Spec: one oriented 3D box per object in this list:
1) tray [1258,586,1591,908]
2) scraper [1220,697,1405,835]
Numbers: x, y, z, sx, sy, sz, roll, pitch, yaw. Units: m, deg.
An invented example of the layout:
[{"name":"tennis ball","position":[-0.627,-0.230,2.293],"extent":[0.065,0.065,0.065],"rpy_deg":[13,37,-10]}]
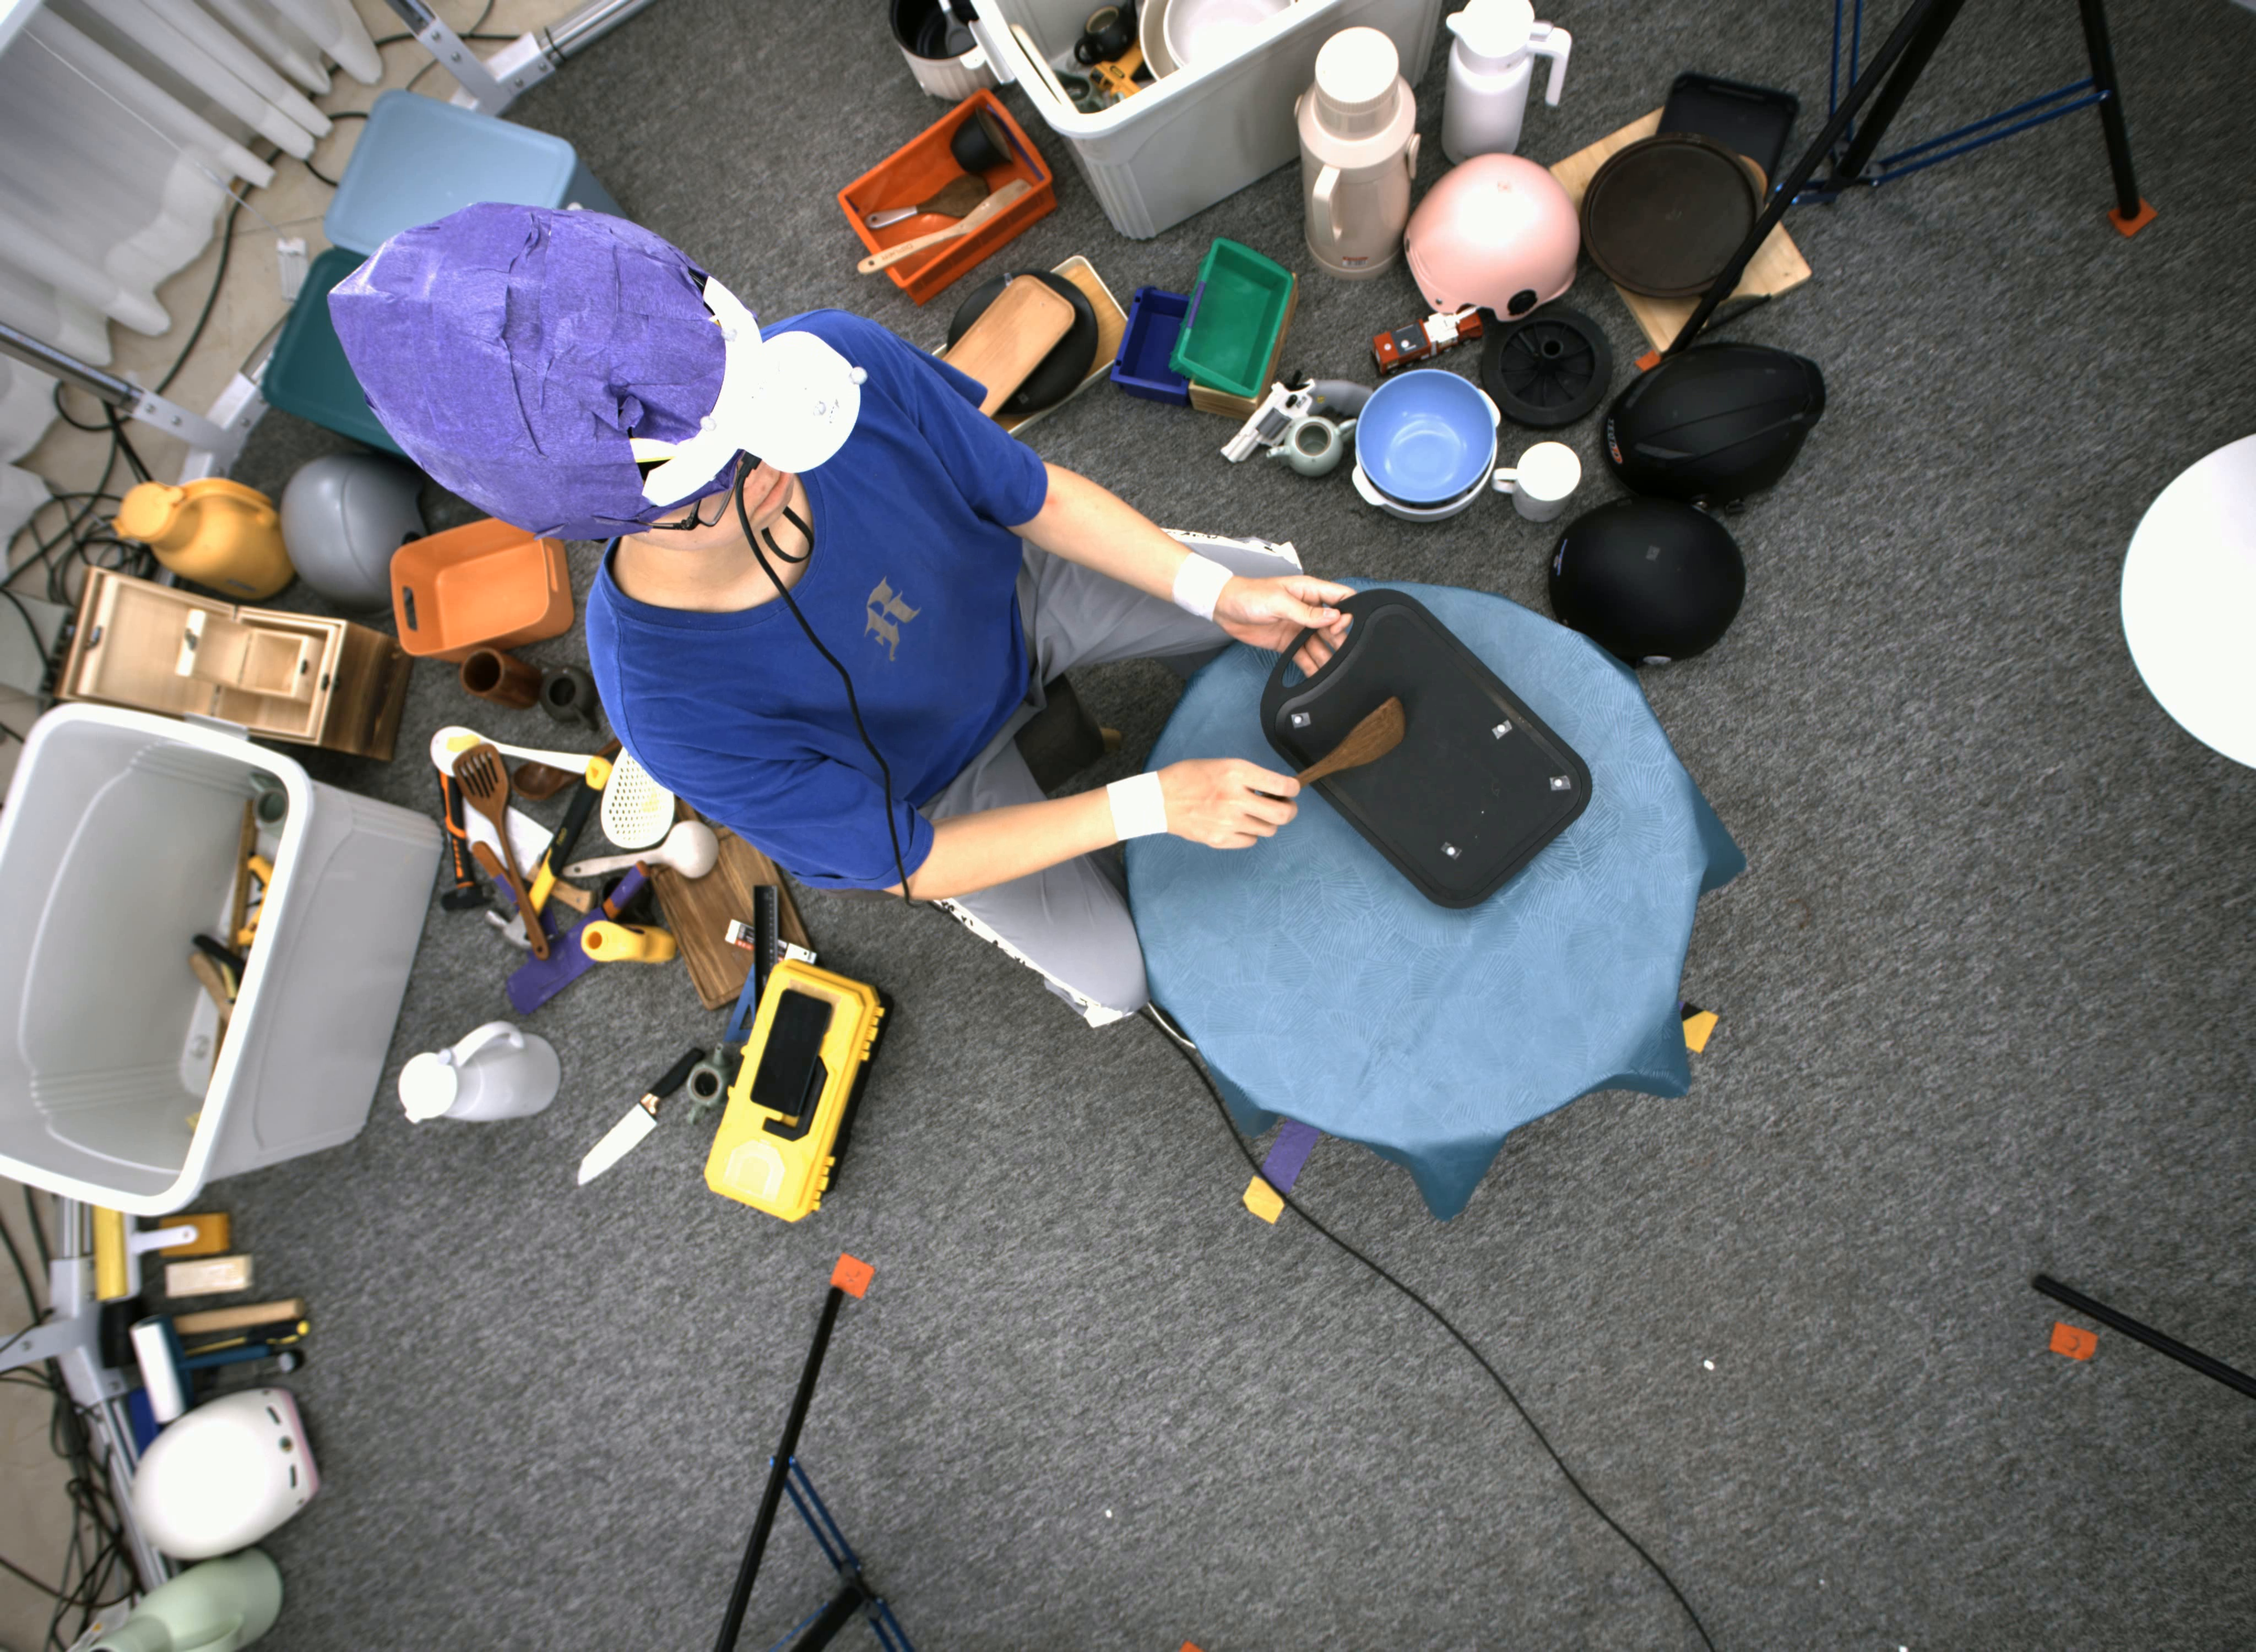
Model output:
[{"name":"tray","position":[0.285,-0.082,1.367],"extent":[0.325,0.009,0.215],"rpy_deg":[44,115,-1]},{"name":"scraper","position":[0.180,-0.052,1.342],"extent":[0.212,0.077,0.010],"rpy_deg":[-32,55,3]}]
